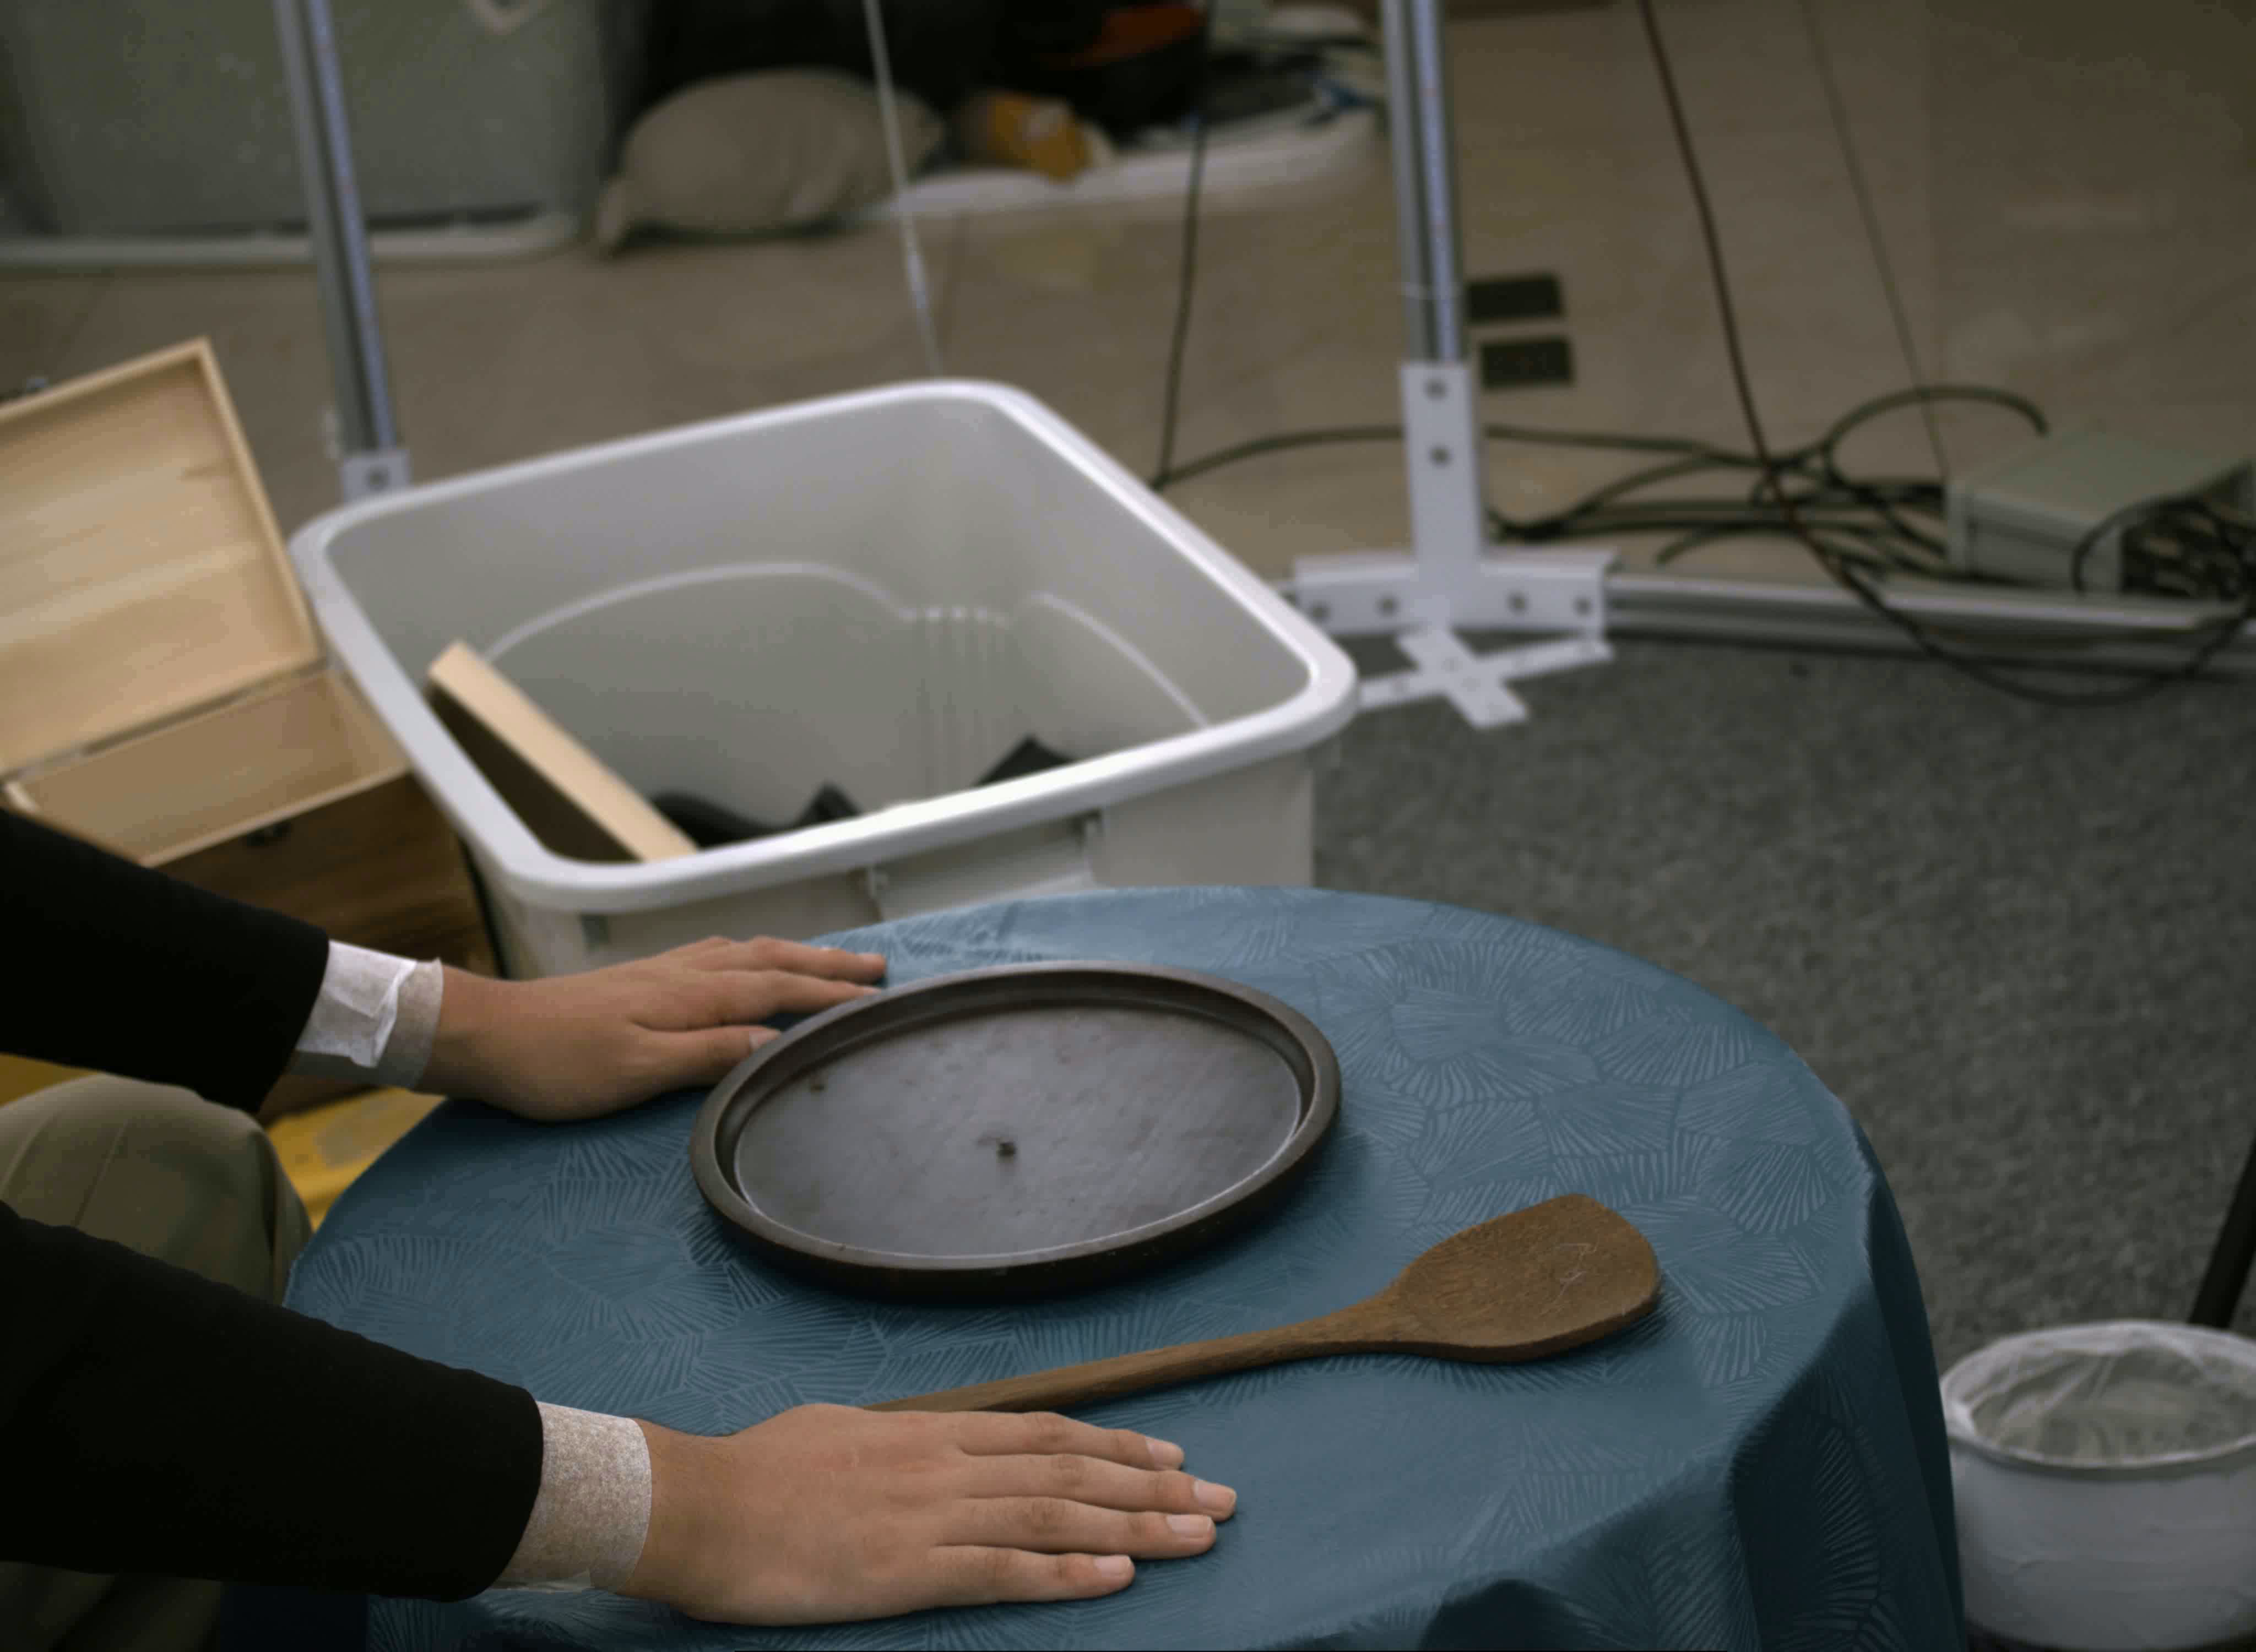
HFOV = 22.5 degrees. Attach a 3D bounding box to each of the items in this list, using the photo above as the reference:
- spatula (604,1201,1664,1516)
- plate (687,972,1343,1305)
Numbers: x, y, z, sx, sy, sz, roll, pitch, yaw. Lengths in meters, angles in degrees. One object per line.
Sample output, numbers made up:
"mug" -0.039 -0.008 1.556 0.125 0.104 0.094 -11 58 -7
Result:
"spatula" 0.002 0.194 2.013 0.385 0.016 0.095 -12 25 -10
"plate" -0.043 0.118 2.179 0.254 0.029 0.251 -4 26 2
